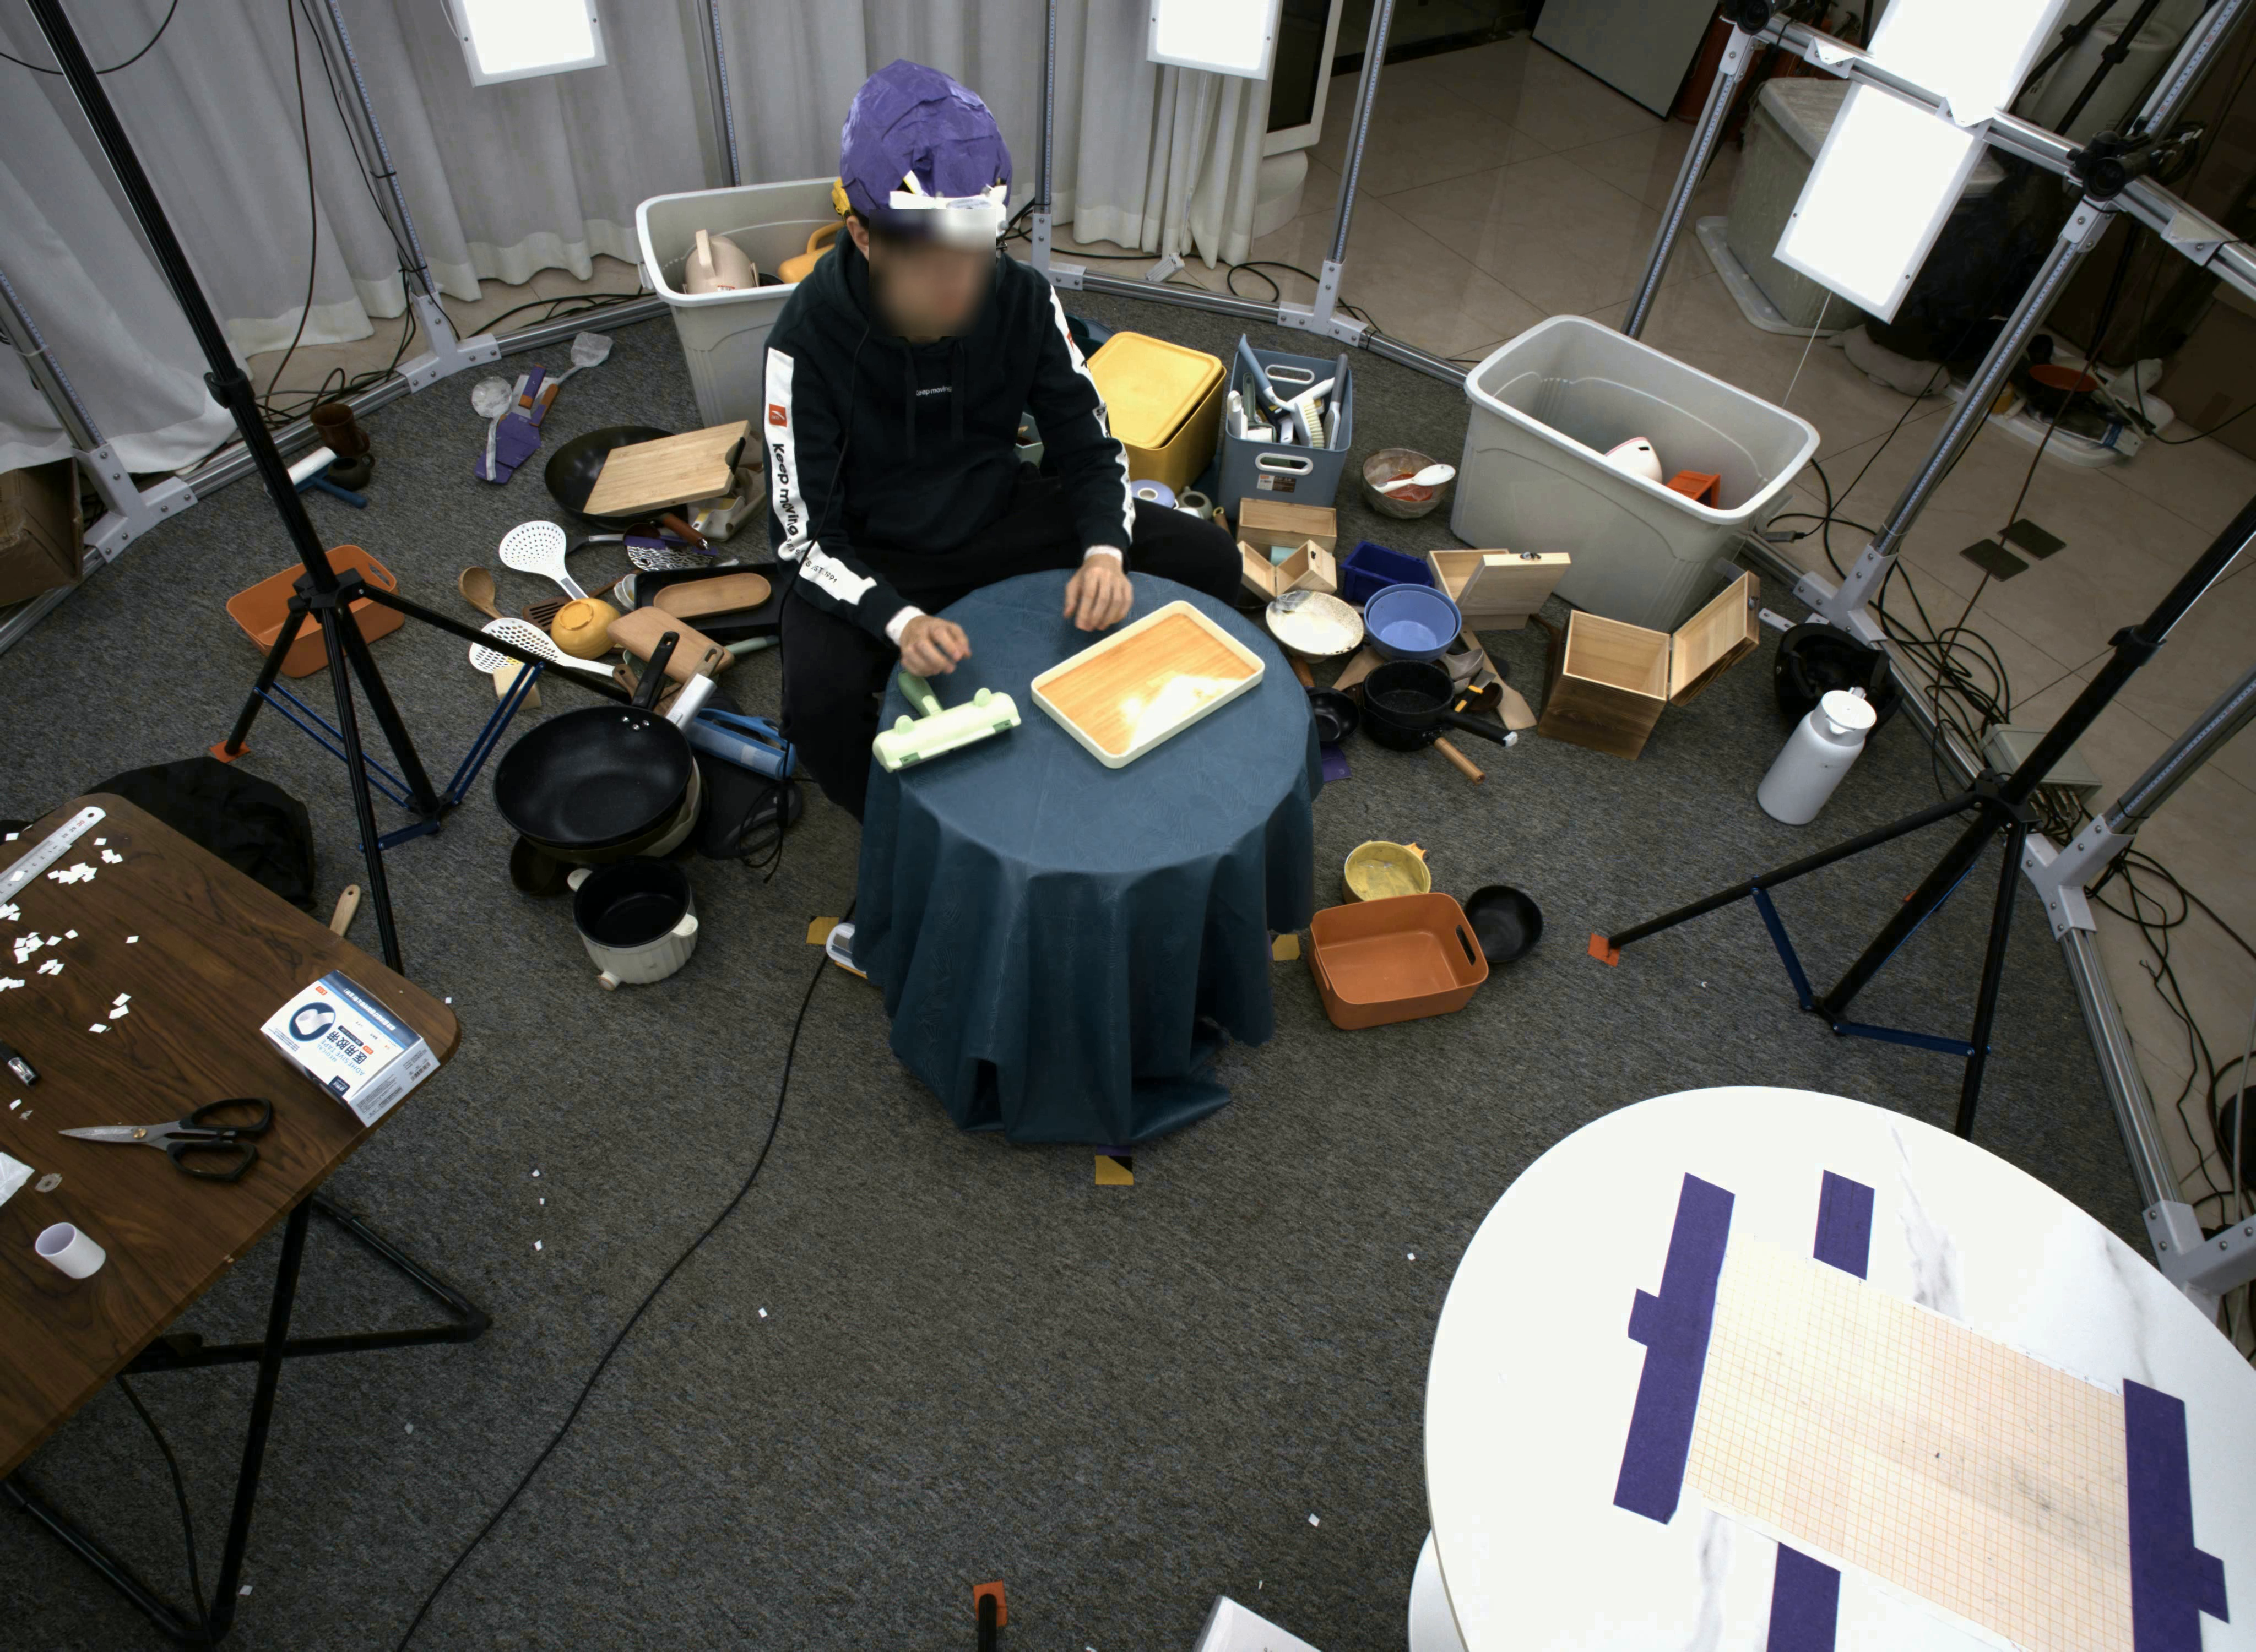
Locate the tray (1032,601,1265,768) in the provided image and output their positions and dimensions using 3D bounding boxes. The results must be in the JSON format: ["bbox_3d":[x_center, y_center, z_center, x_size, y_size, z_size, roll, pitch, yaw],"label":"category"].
[{"bbox_3d":[0.031,-0.208,1.833,0.302,0.027,0.195,-32,58,-27],"label":"tray"}]

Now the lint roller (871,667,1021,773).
[{"bbox_3d":[-0.270,-0.171,1.749,0.199,0.080,0.187,-22,58,-21],"label":"lint roller"}]
